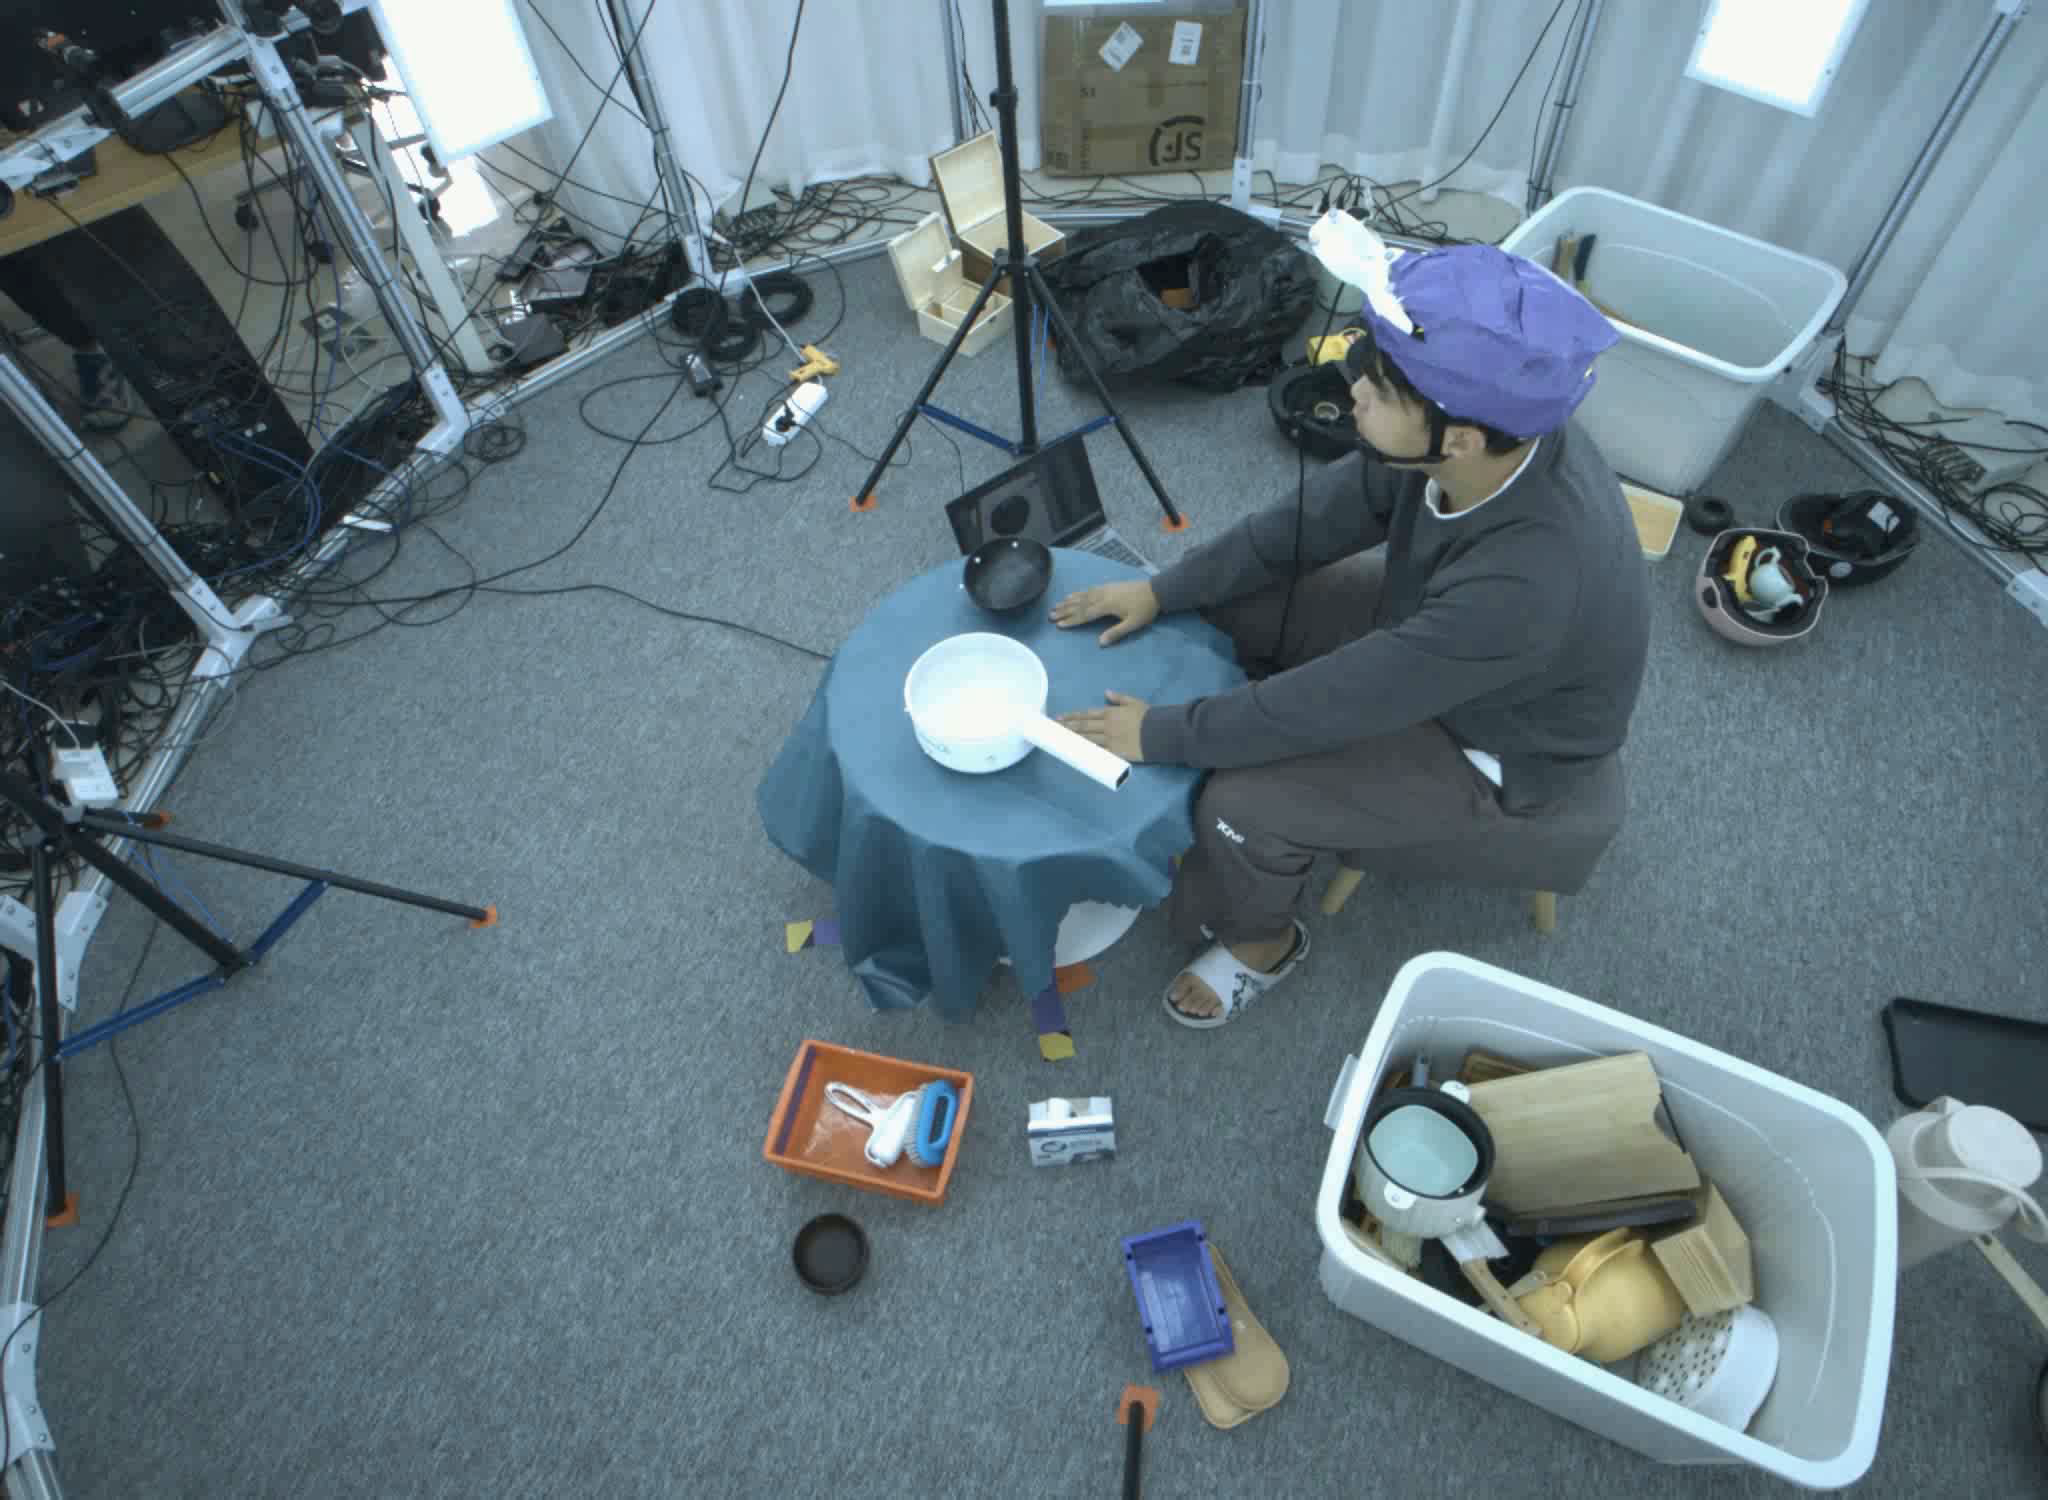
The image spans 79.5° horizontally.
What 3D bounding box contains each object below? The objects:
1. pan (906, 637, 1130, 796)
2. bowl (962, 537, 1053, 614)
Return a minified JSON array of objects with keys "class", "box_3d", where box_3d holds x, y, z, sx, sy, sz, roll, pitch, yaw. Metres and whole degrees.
[{"class":"pan","box_3d":[-0.006,-0.022,1.752,0.349,0.103,0.202,32,58,19]},{"class":"bowl","box_3d":[-0.024,-0.267,1.937,0.136,0.067,0.170,18,55,14]}]
